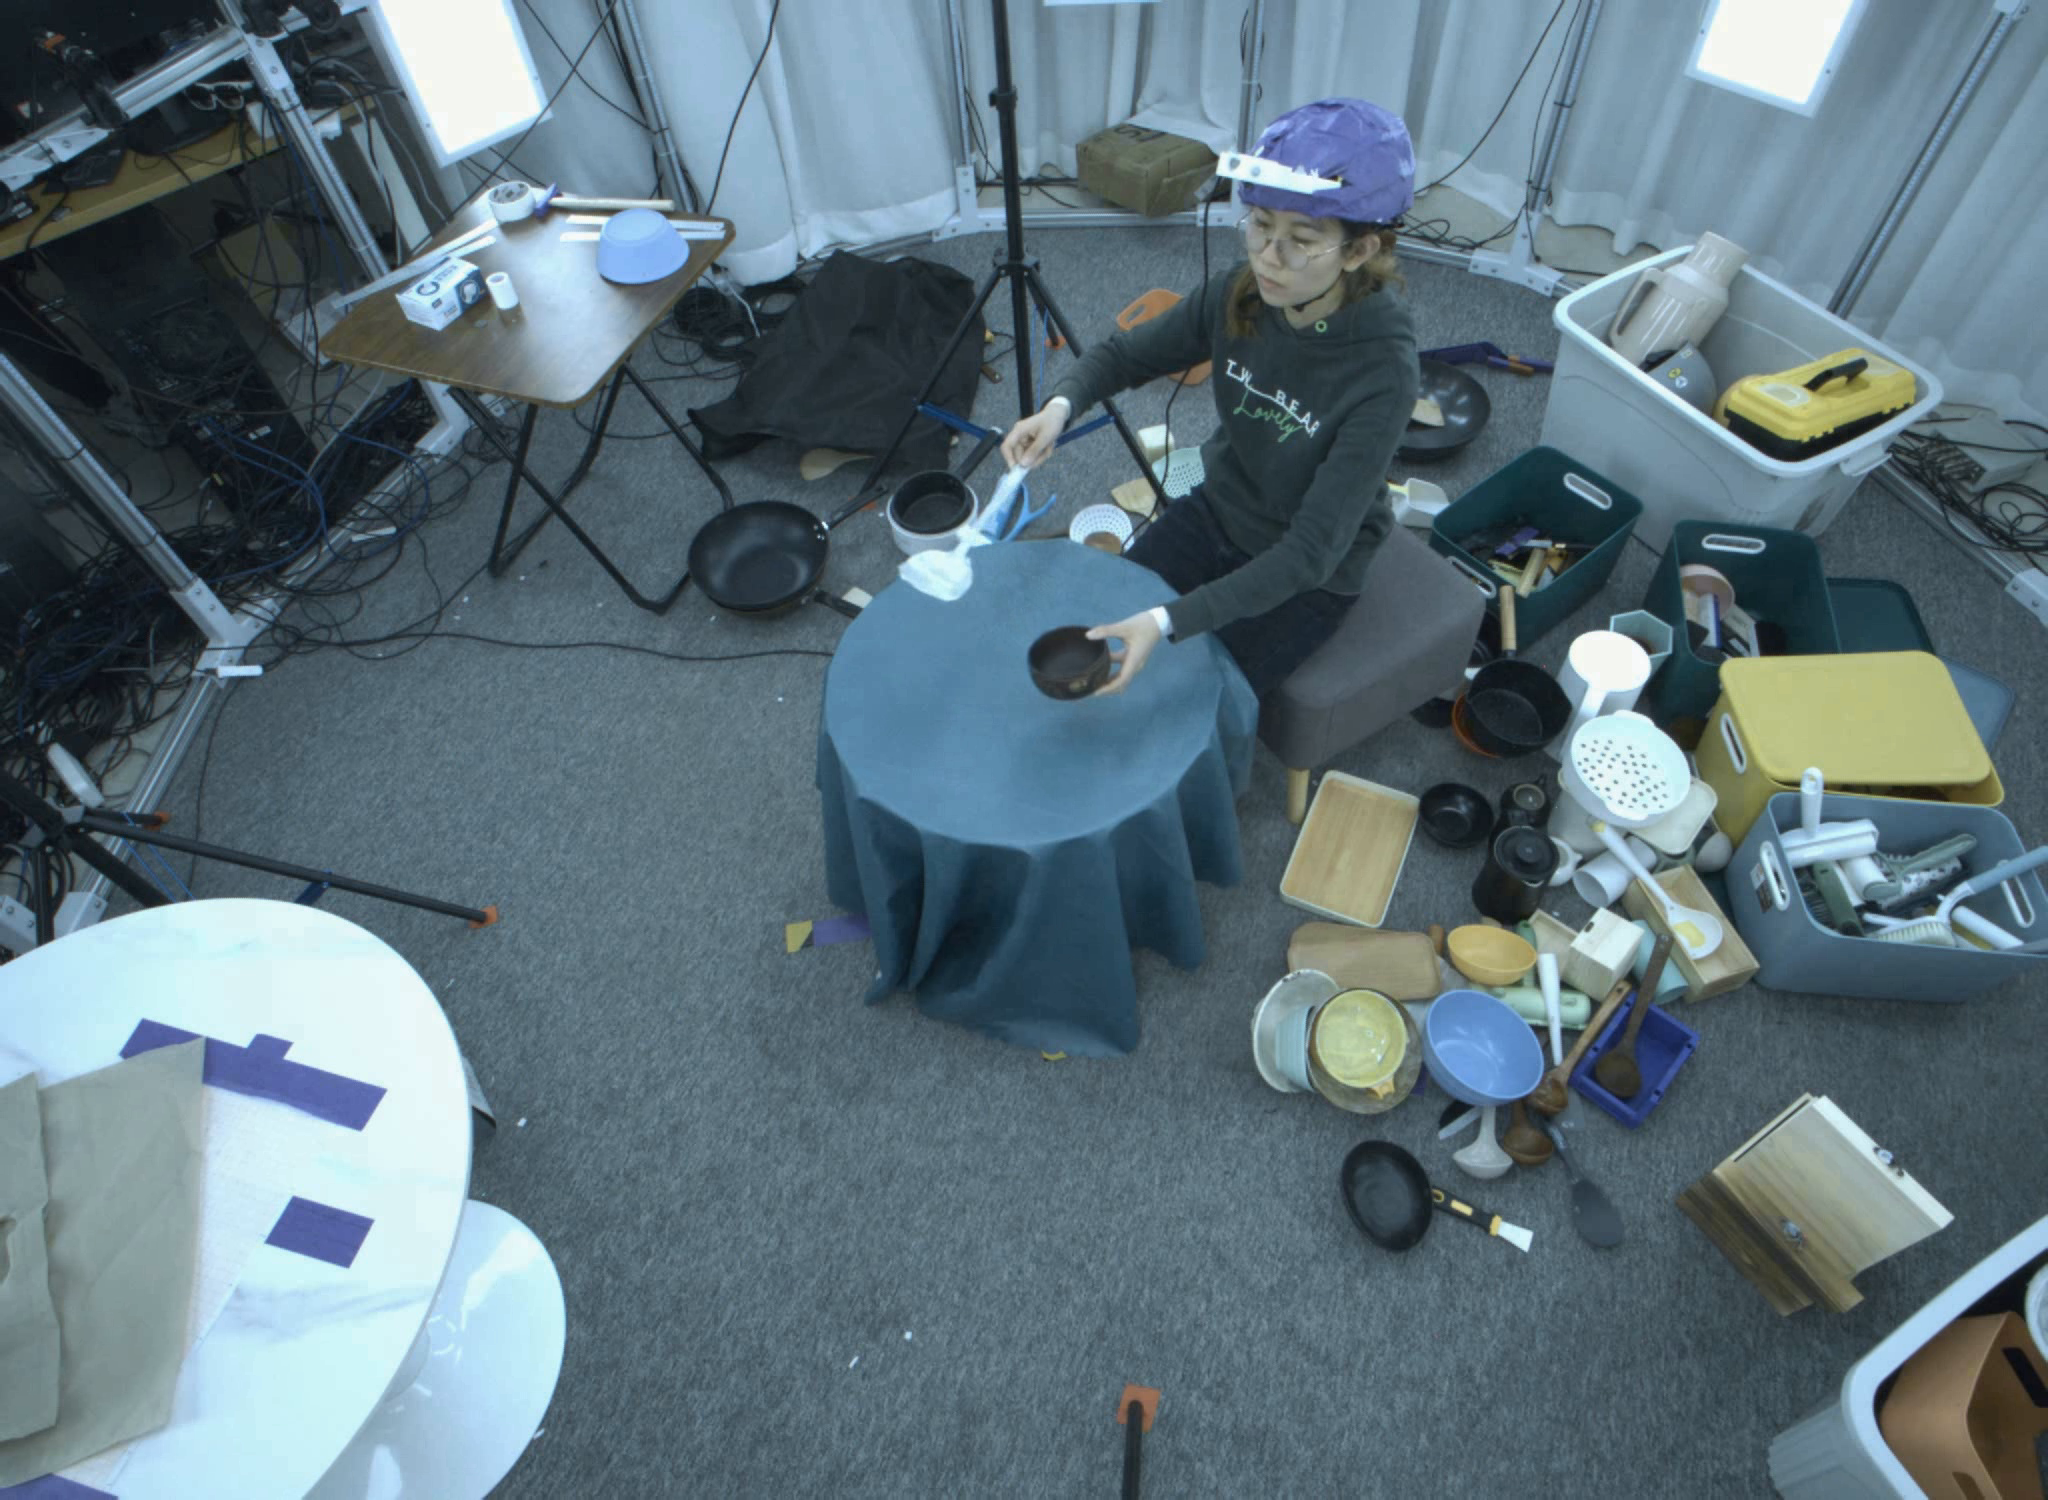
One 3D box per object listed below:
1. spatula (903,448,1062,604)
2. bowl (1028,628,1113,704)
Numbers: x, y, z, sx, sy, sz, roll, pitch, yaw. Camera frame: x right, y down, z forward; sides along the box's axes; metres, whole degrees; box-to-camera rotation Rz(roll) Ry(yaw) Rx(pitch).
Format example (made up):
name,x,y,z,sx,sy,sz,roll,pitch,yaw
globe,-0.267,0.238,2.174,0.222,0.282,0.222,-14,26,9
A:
name,x,y,z,sx,sy,sz,roll,pitch,yaw
spatula,-0.045,-0.345,1.798,0.098,0.045,0.365,30,66,10
bowl,0.068,-0.110,1.734,0.117,0.071,0.117,-6,45,7
